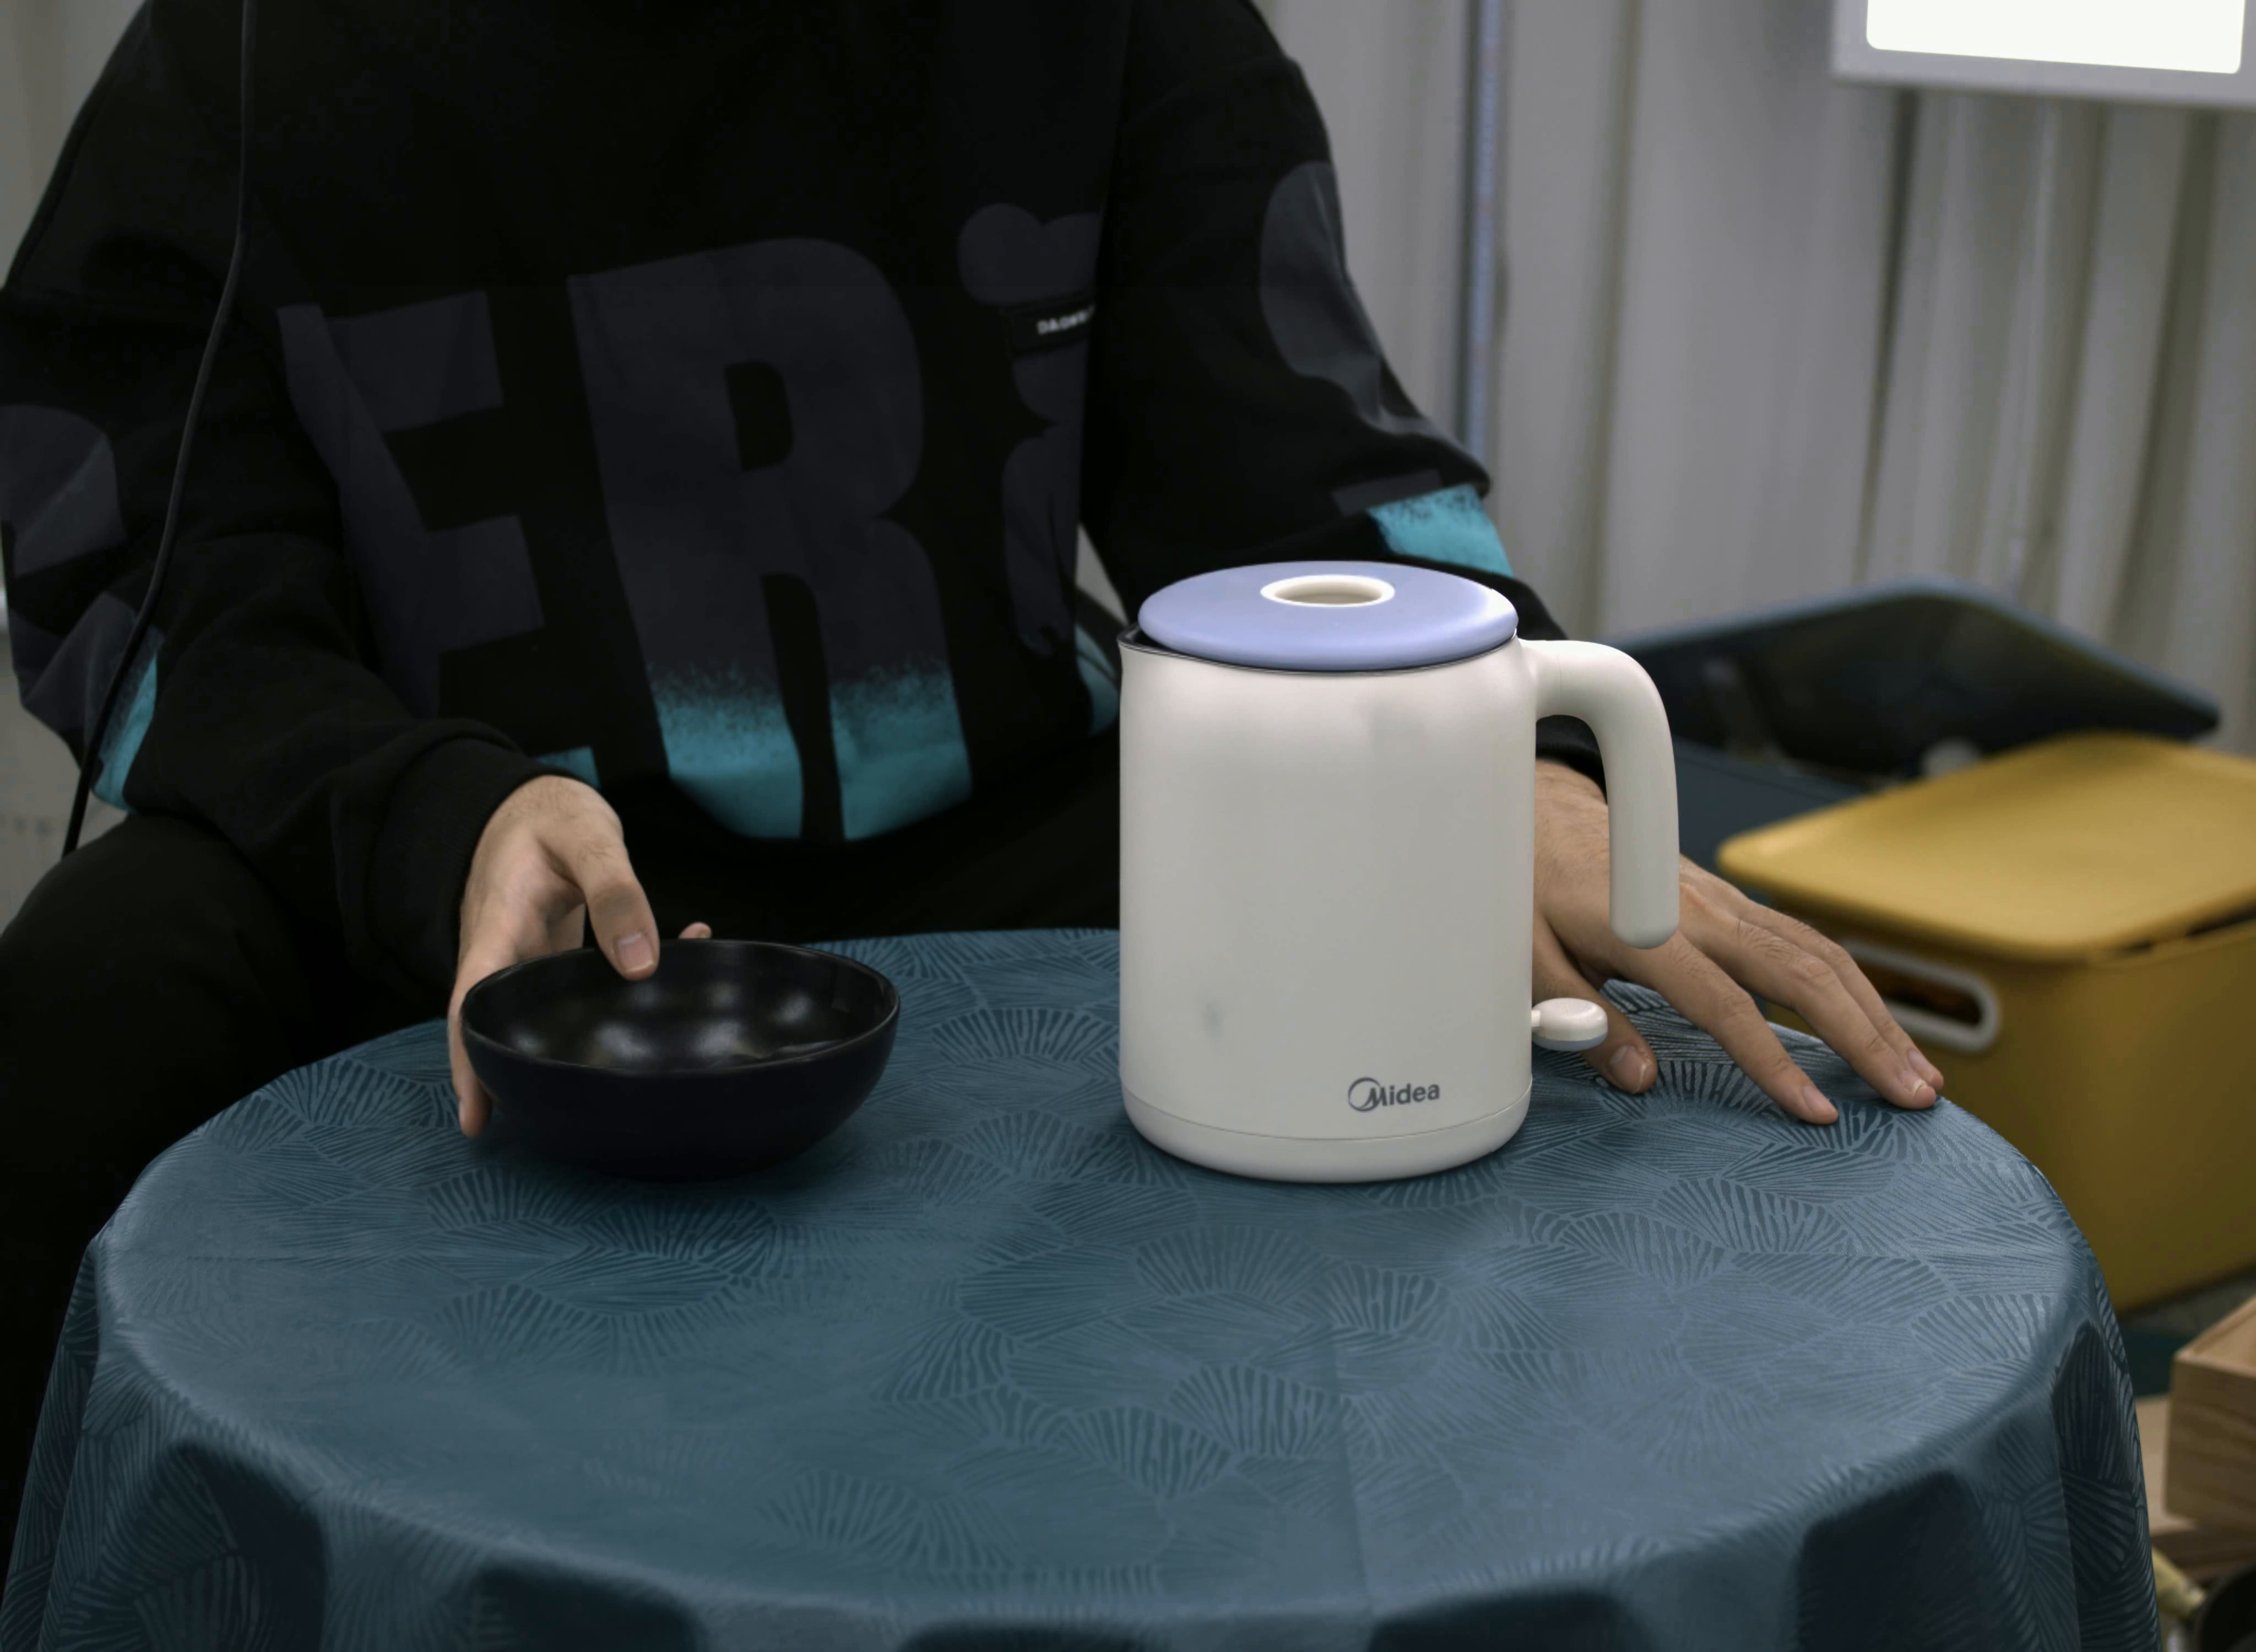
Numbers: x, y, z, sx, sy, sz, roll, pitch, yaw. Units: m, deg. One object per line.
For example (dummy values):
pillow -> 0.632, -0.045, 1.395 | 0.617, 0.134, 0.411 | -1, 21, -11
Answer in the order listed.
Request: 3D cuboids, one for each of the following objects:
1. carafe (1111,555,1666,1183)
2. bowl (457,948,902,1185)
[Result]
carafe -> 0.085, 0.011, 1.667 | 0.191, 0.184, 0.131 | -3, 17, -19
bowl -> -0.140, 0.079, 1.647 | 0.139, 0.050, 0.139 | 1, 13, 0
